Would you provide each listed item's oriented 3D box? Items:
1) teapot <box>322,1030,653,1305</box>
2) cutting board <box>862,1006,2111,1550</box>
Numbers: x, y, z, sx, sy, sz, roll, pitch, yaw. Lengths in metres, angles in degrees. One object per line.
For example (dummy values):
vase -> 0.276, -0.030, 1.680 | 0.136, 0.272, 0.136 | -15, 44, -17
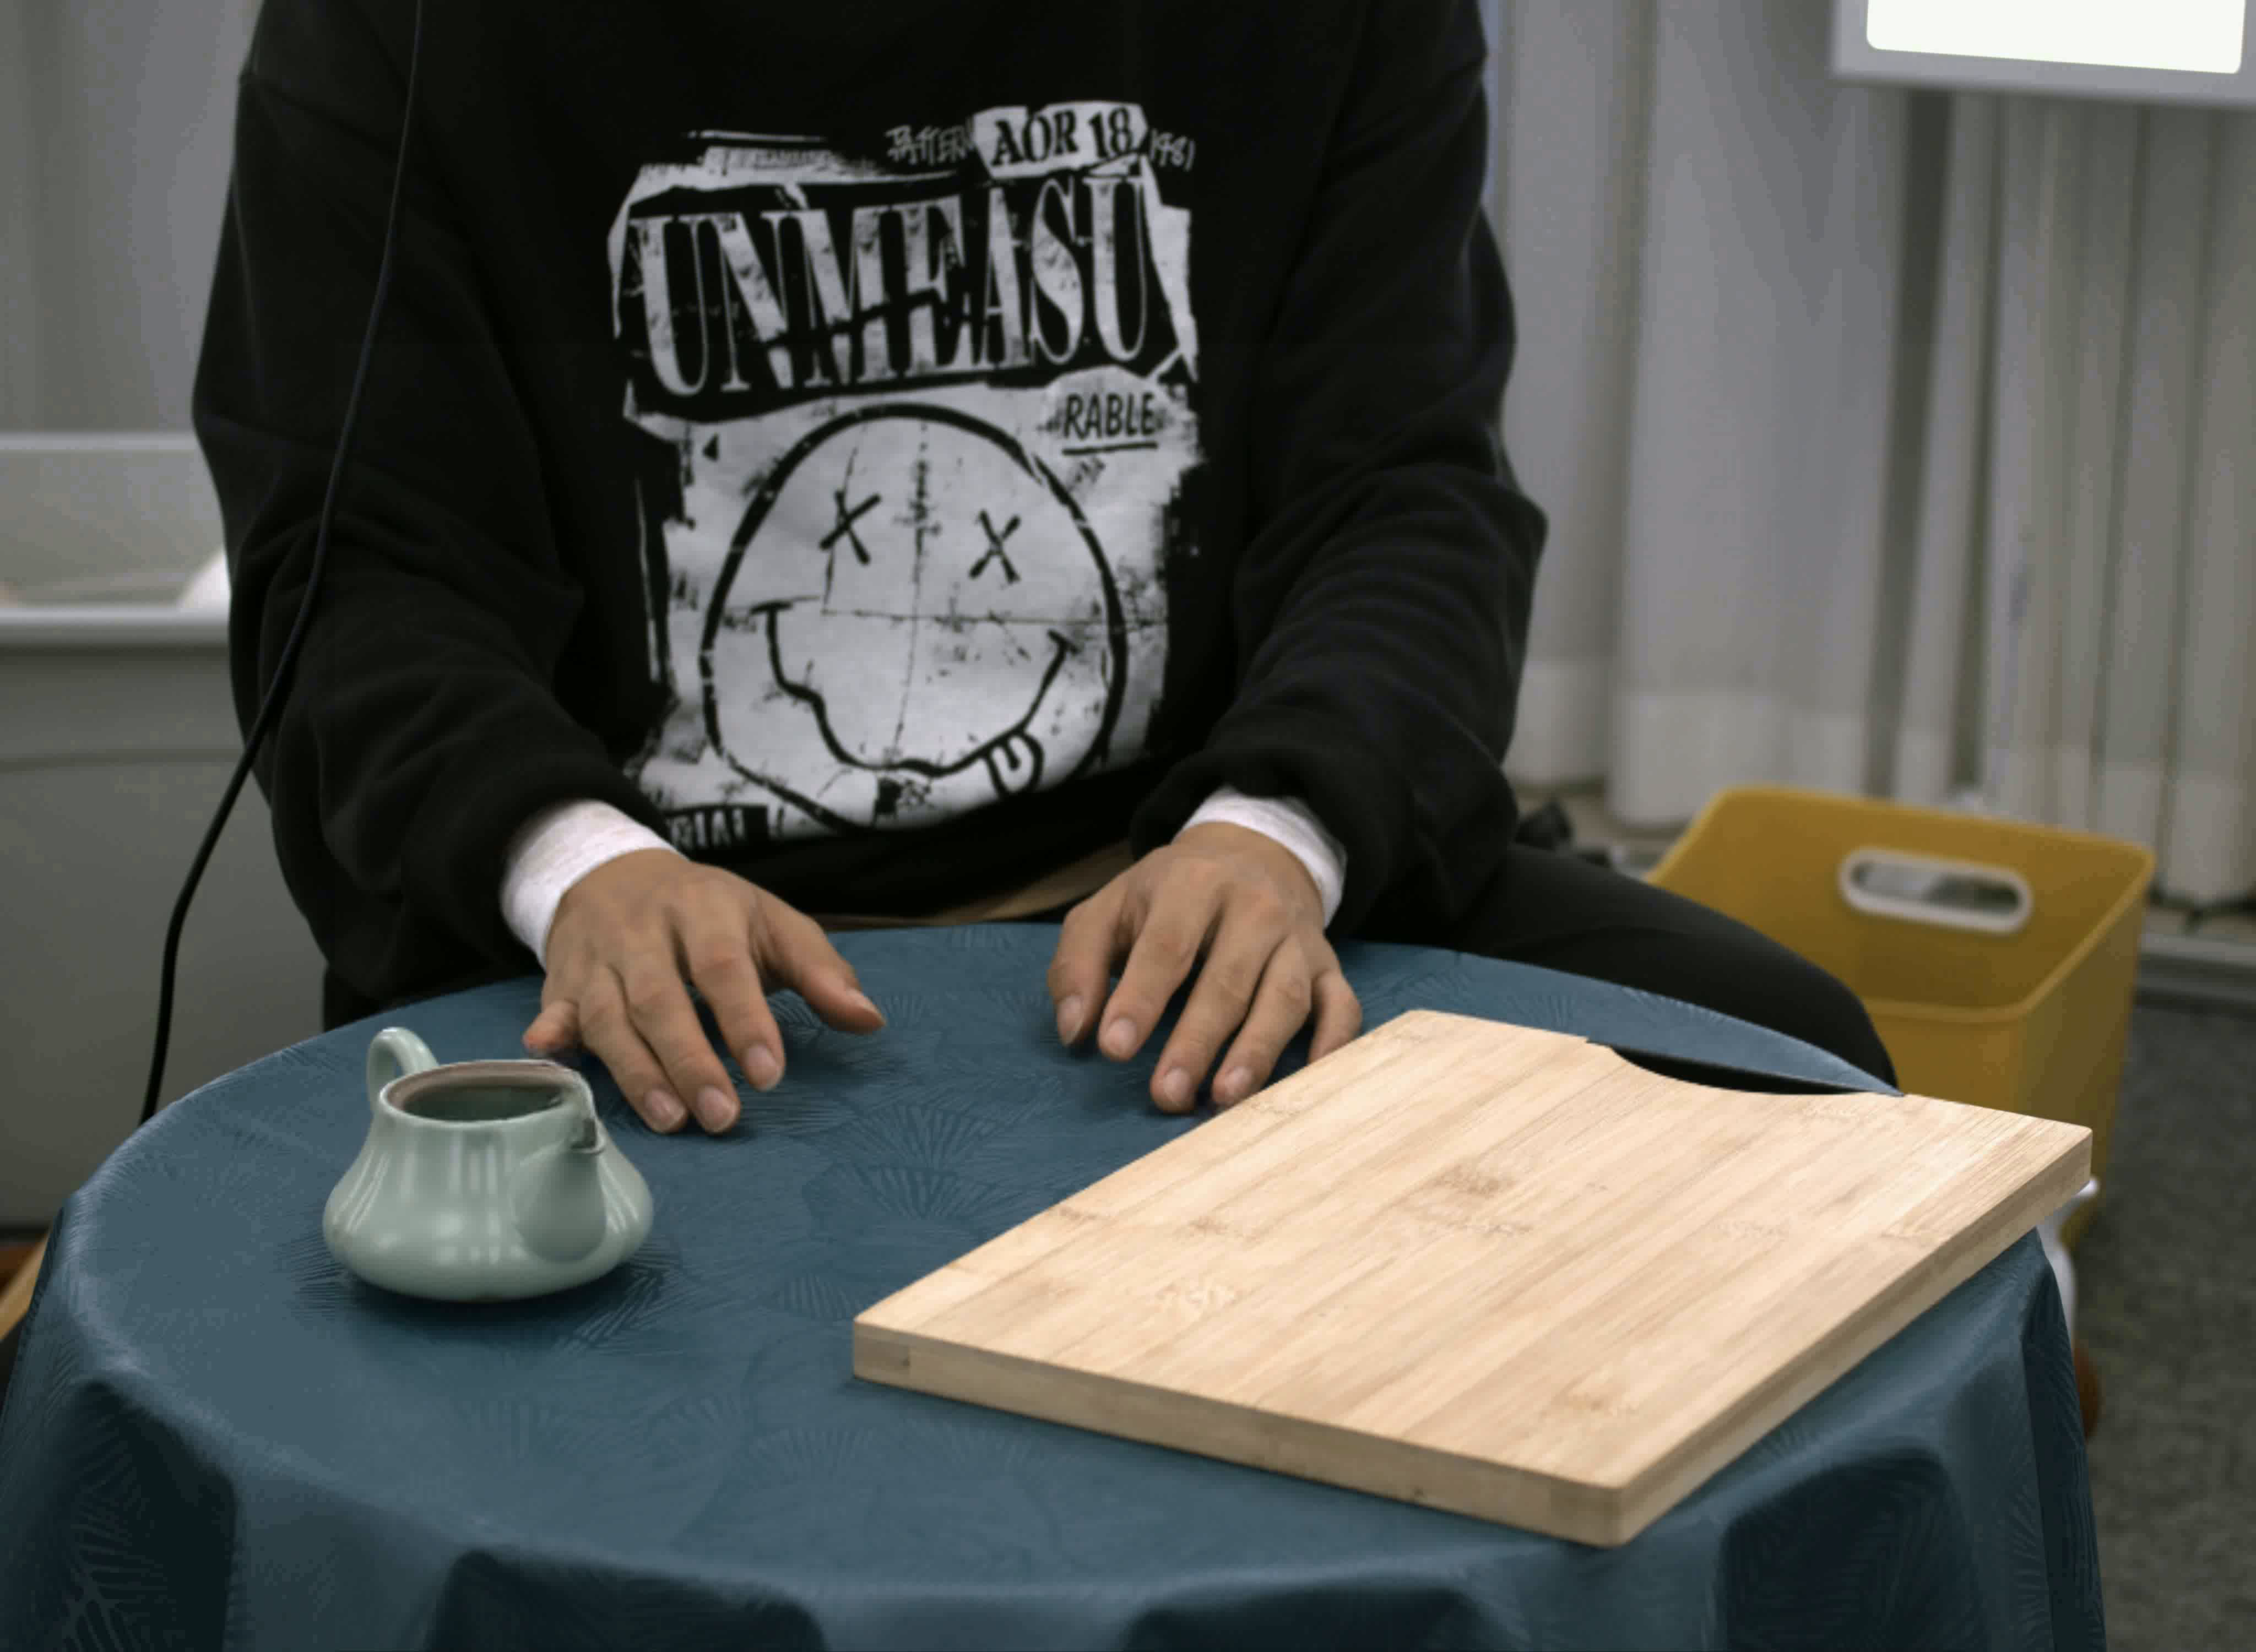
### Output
teapot -> -0.190, 0.102, 1.543 | 0.096, 0.062, 0.135 | -13, 21, -36
cutting board -> 0.114, 0.123, 1.557 | 0.248, 0.024, 0.350 | 9, 18, 28
